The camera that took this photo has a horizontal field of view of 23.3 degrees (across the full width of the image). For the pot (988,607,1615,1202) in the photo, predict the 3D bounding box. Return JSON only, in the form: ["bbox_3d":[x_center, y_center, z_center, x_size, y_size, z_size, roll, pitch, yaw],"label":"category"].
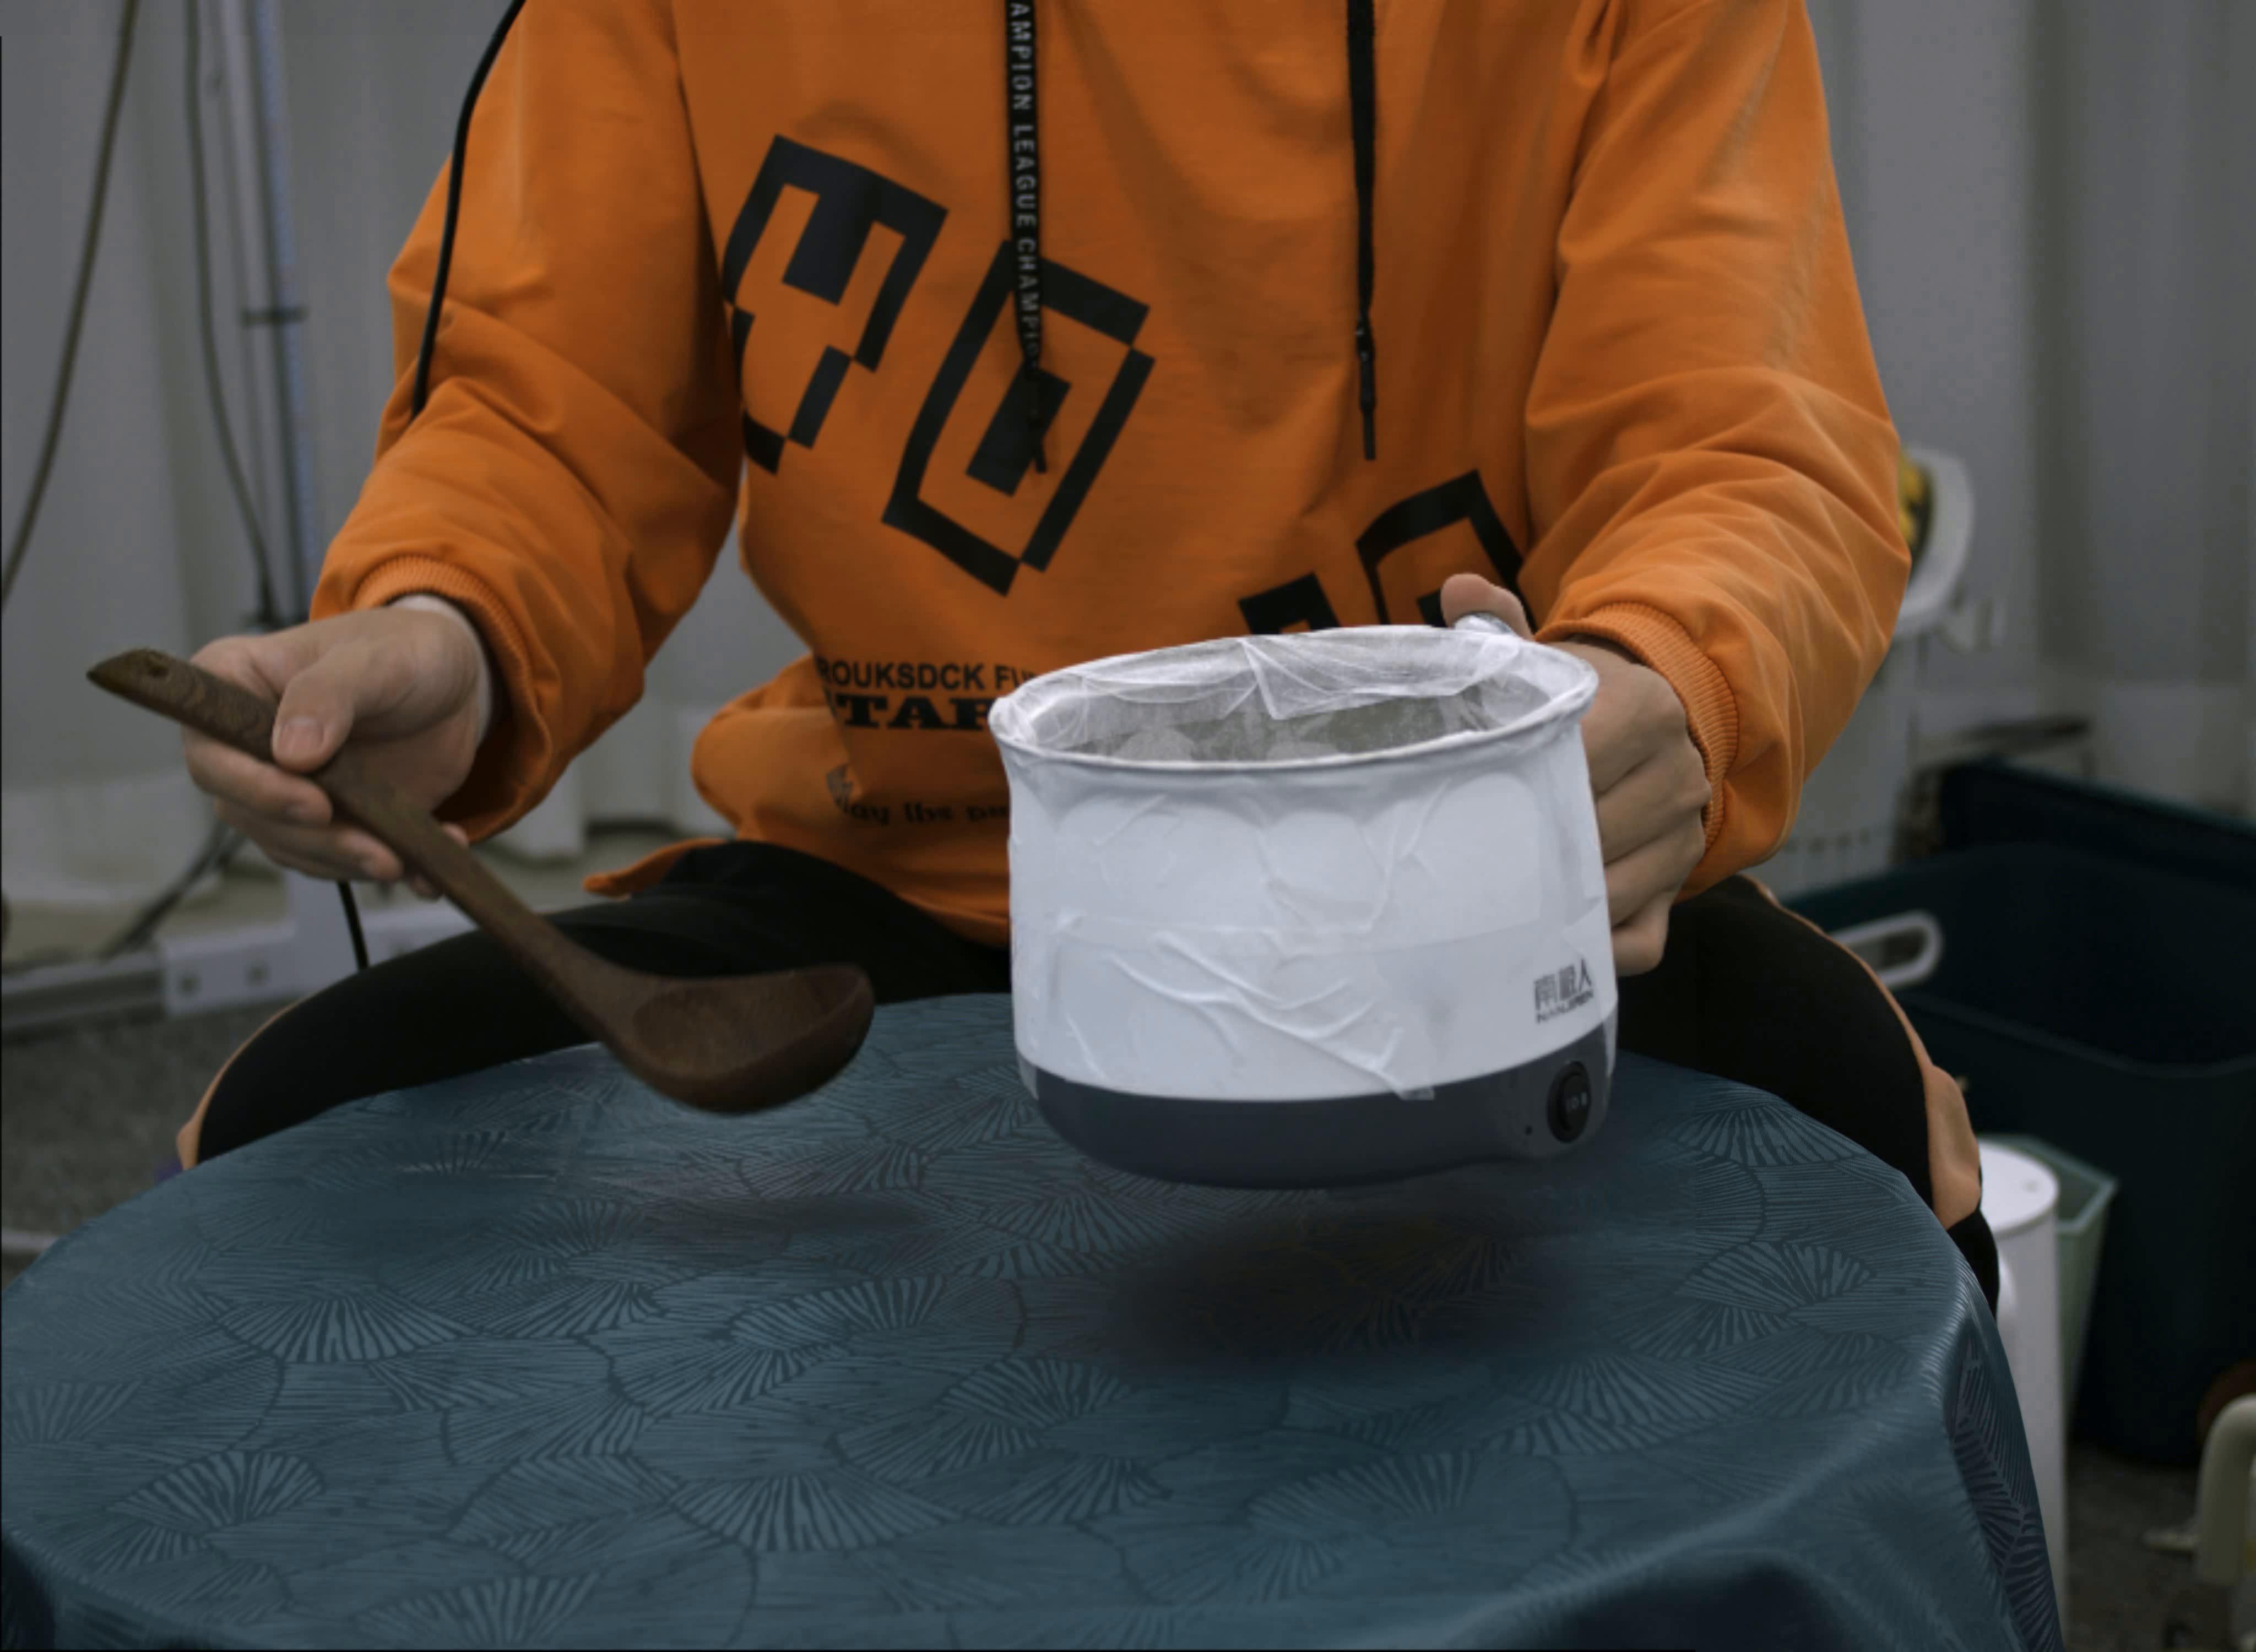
[{"bbox_3d":[0.067,0.017,1.612,0.179,0.136,0.233,5,16,34],"label":"pot"}]

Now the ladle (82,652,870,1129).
[{"bbox_3d":[-0.203,0.006,1.710,0.274,0.071,0.076,36,30,7],"label":"ladle"}]
